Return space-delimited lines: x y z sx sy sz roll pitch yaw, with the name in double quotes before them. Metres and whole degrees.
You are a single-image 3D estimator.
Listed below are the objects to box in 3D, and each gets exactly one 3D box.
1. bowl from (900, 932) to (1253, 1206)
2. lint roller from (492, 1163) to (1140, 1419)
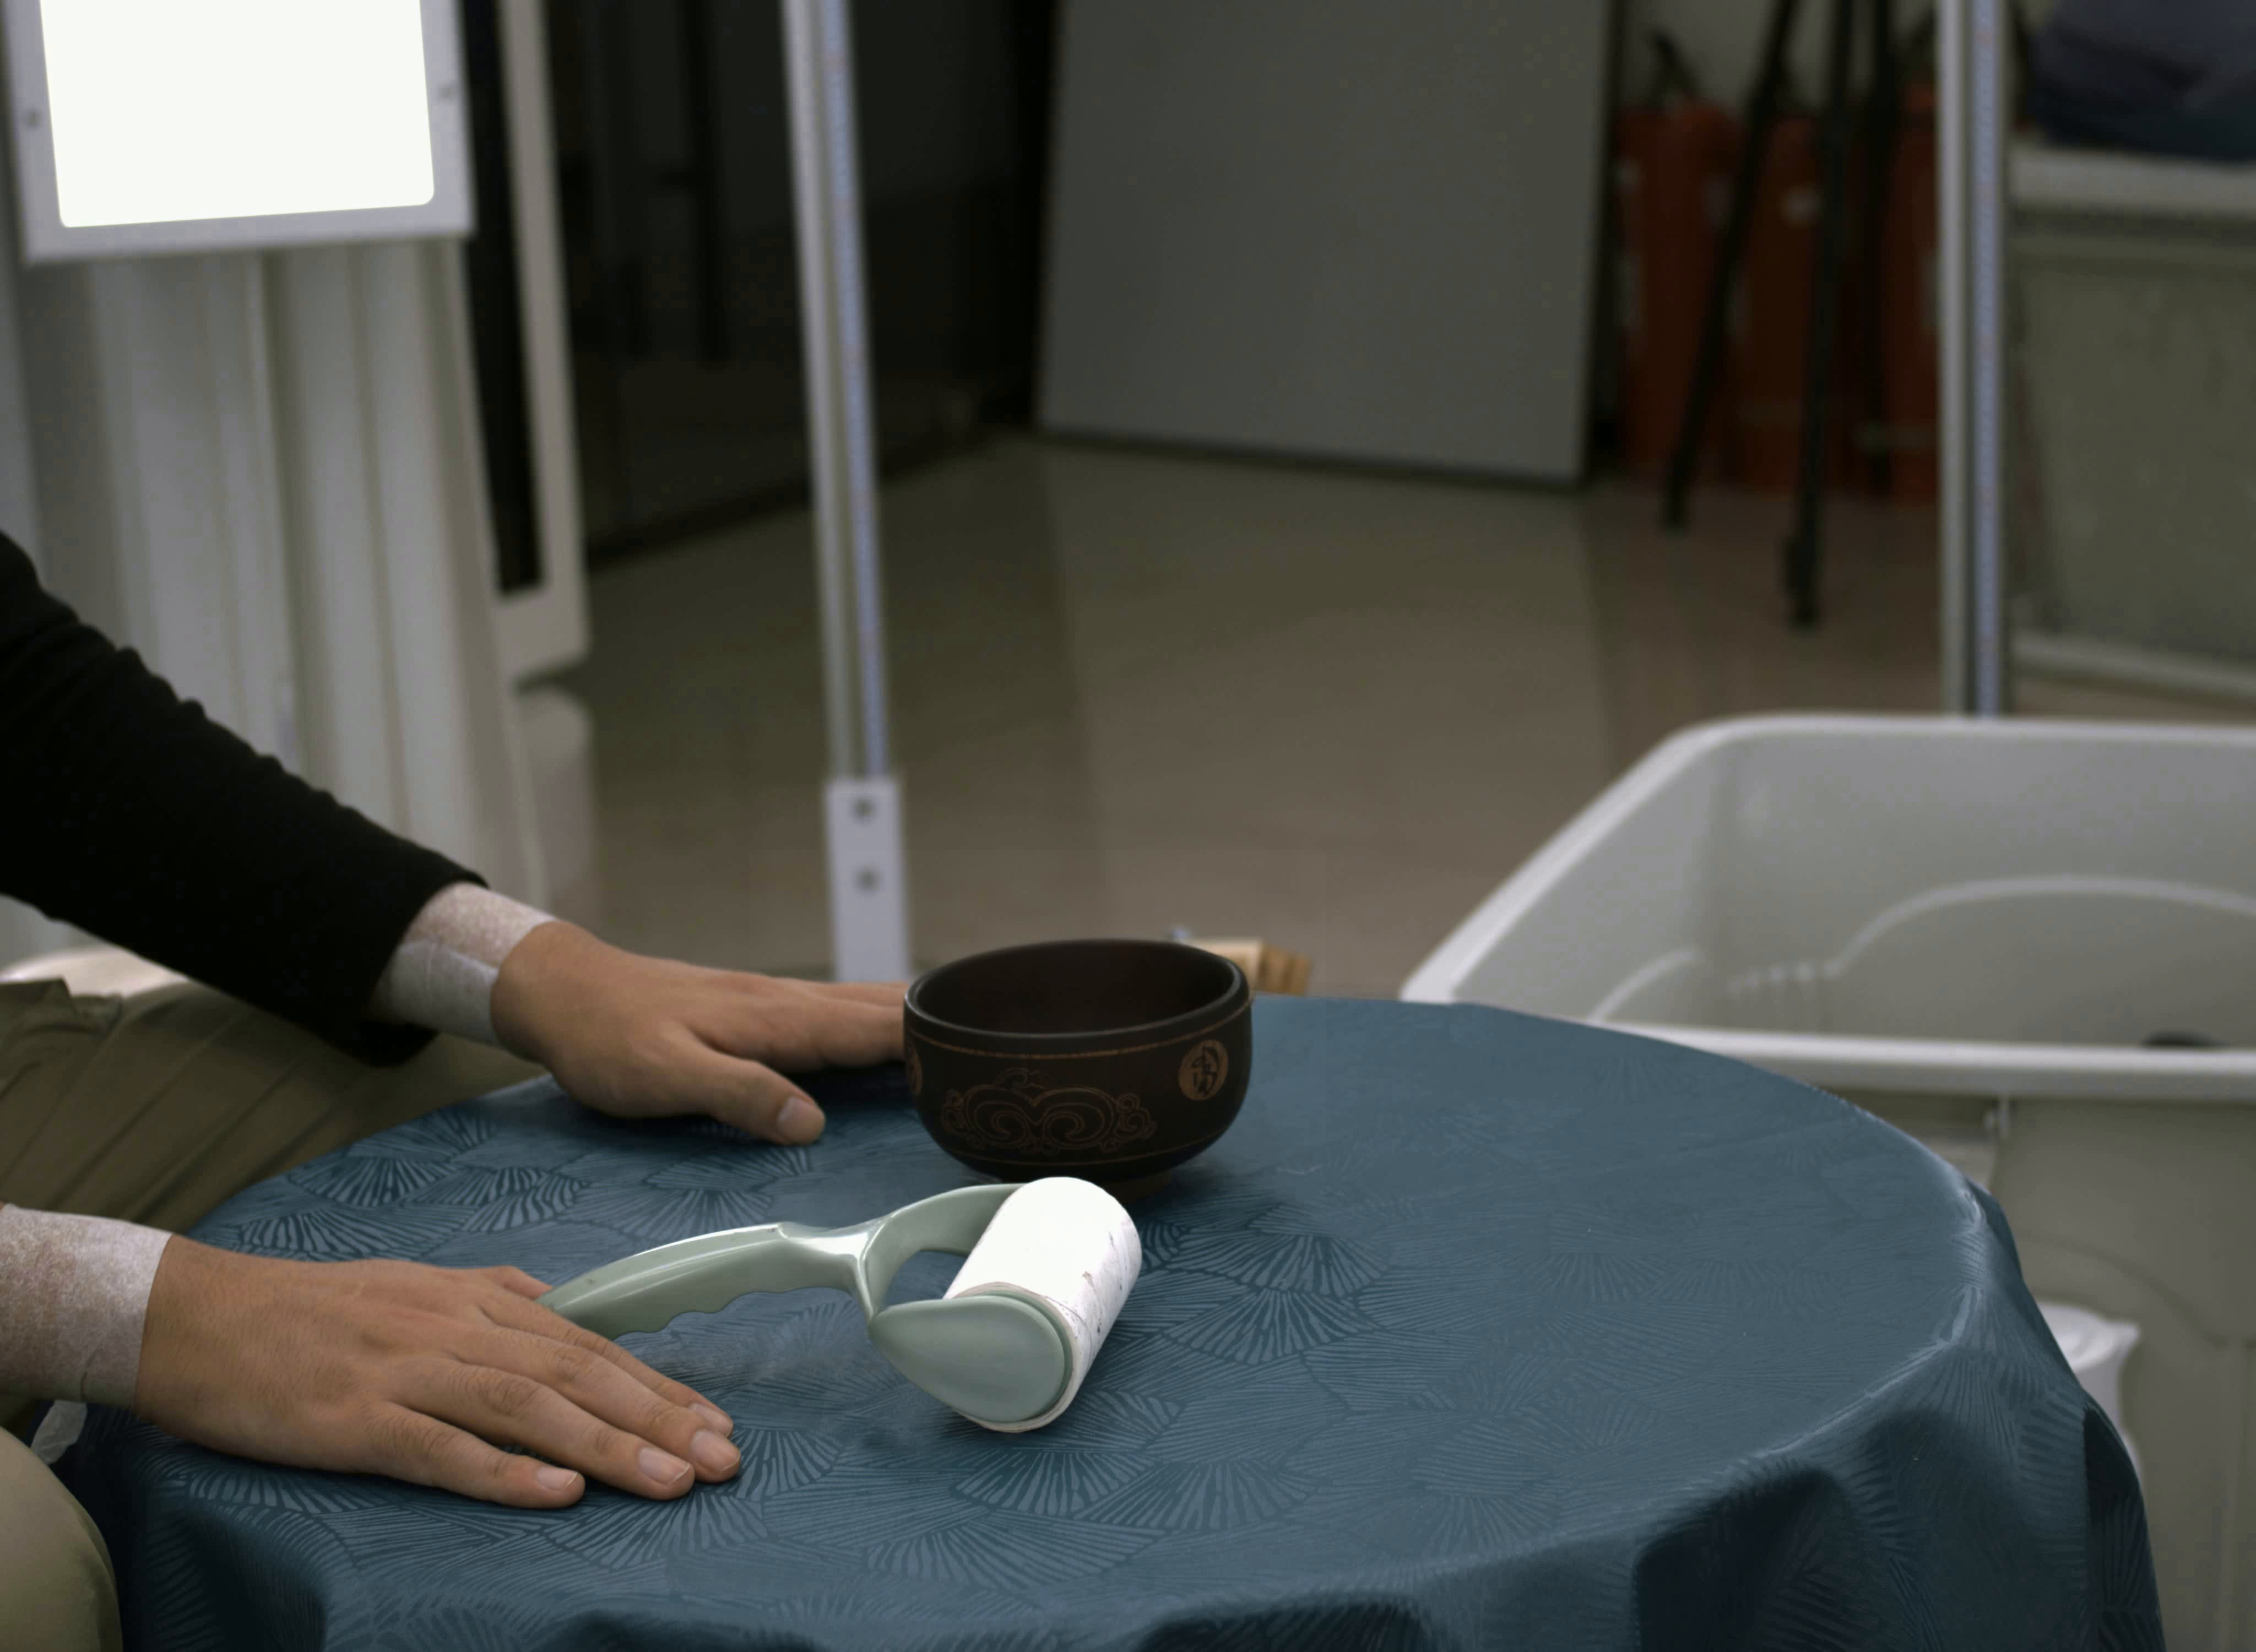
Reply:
"bowl" -0.015 0.084 1.774 0.116 0.070 0.118 -5 14 0
"lint roller" -0.097 0.142 1.622 0.196 0.049 0.116 -3 15 12
